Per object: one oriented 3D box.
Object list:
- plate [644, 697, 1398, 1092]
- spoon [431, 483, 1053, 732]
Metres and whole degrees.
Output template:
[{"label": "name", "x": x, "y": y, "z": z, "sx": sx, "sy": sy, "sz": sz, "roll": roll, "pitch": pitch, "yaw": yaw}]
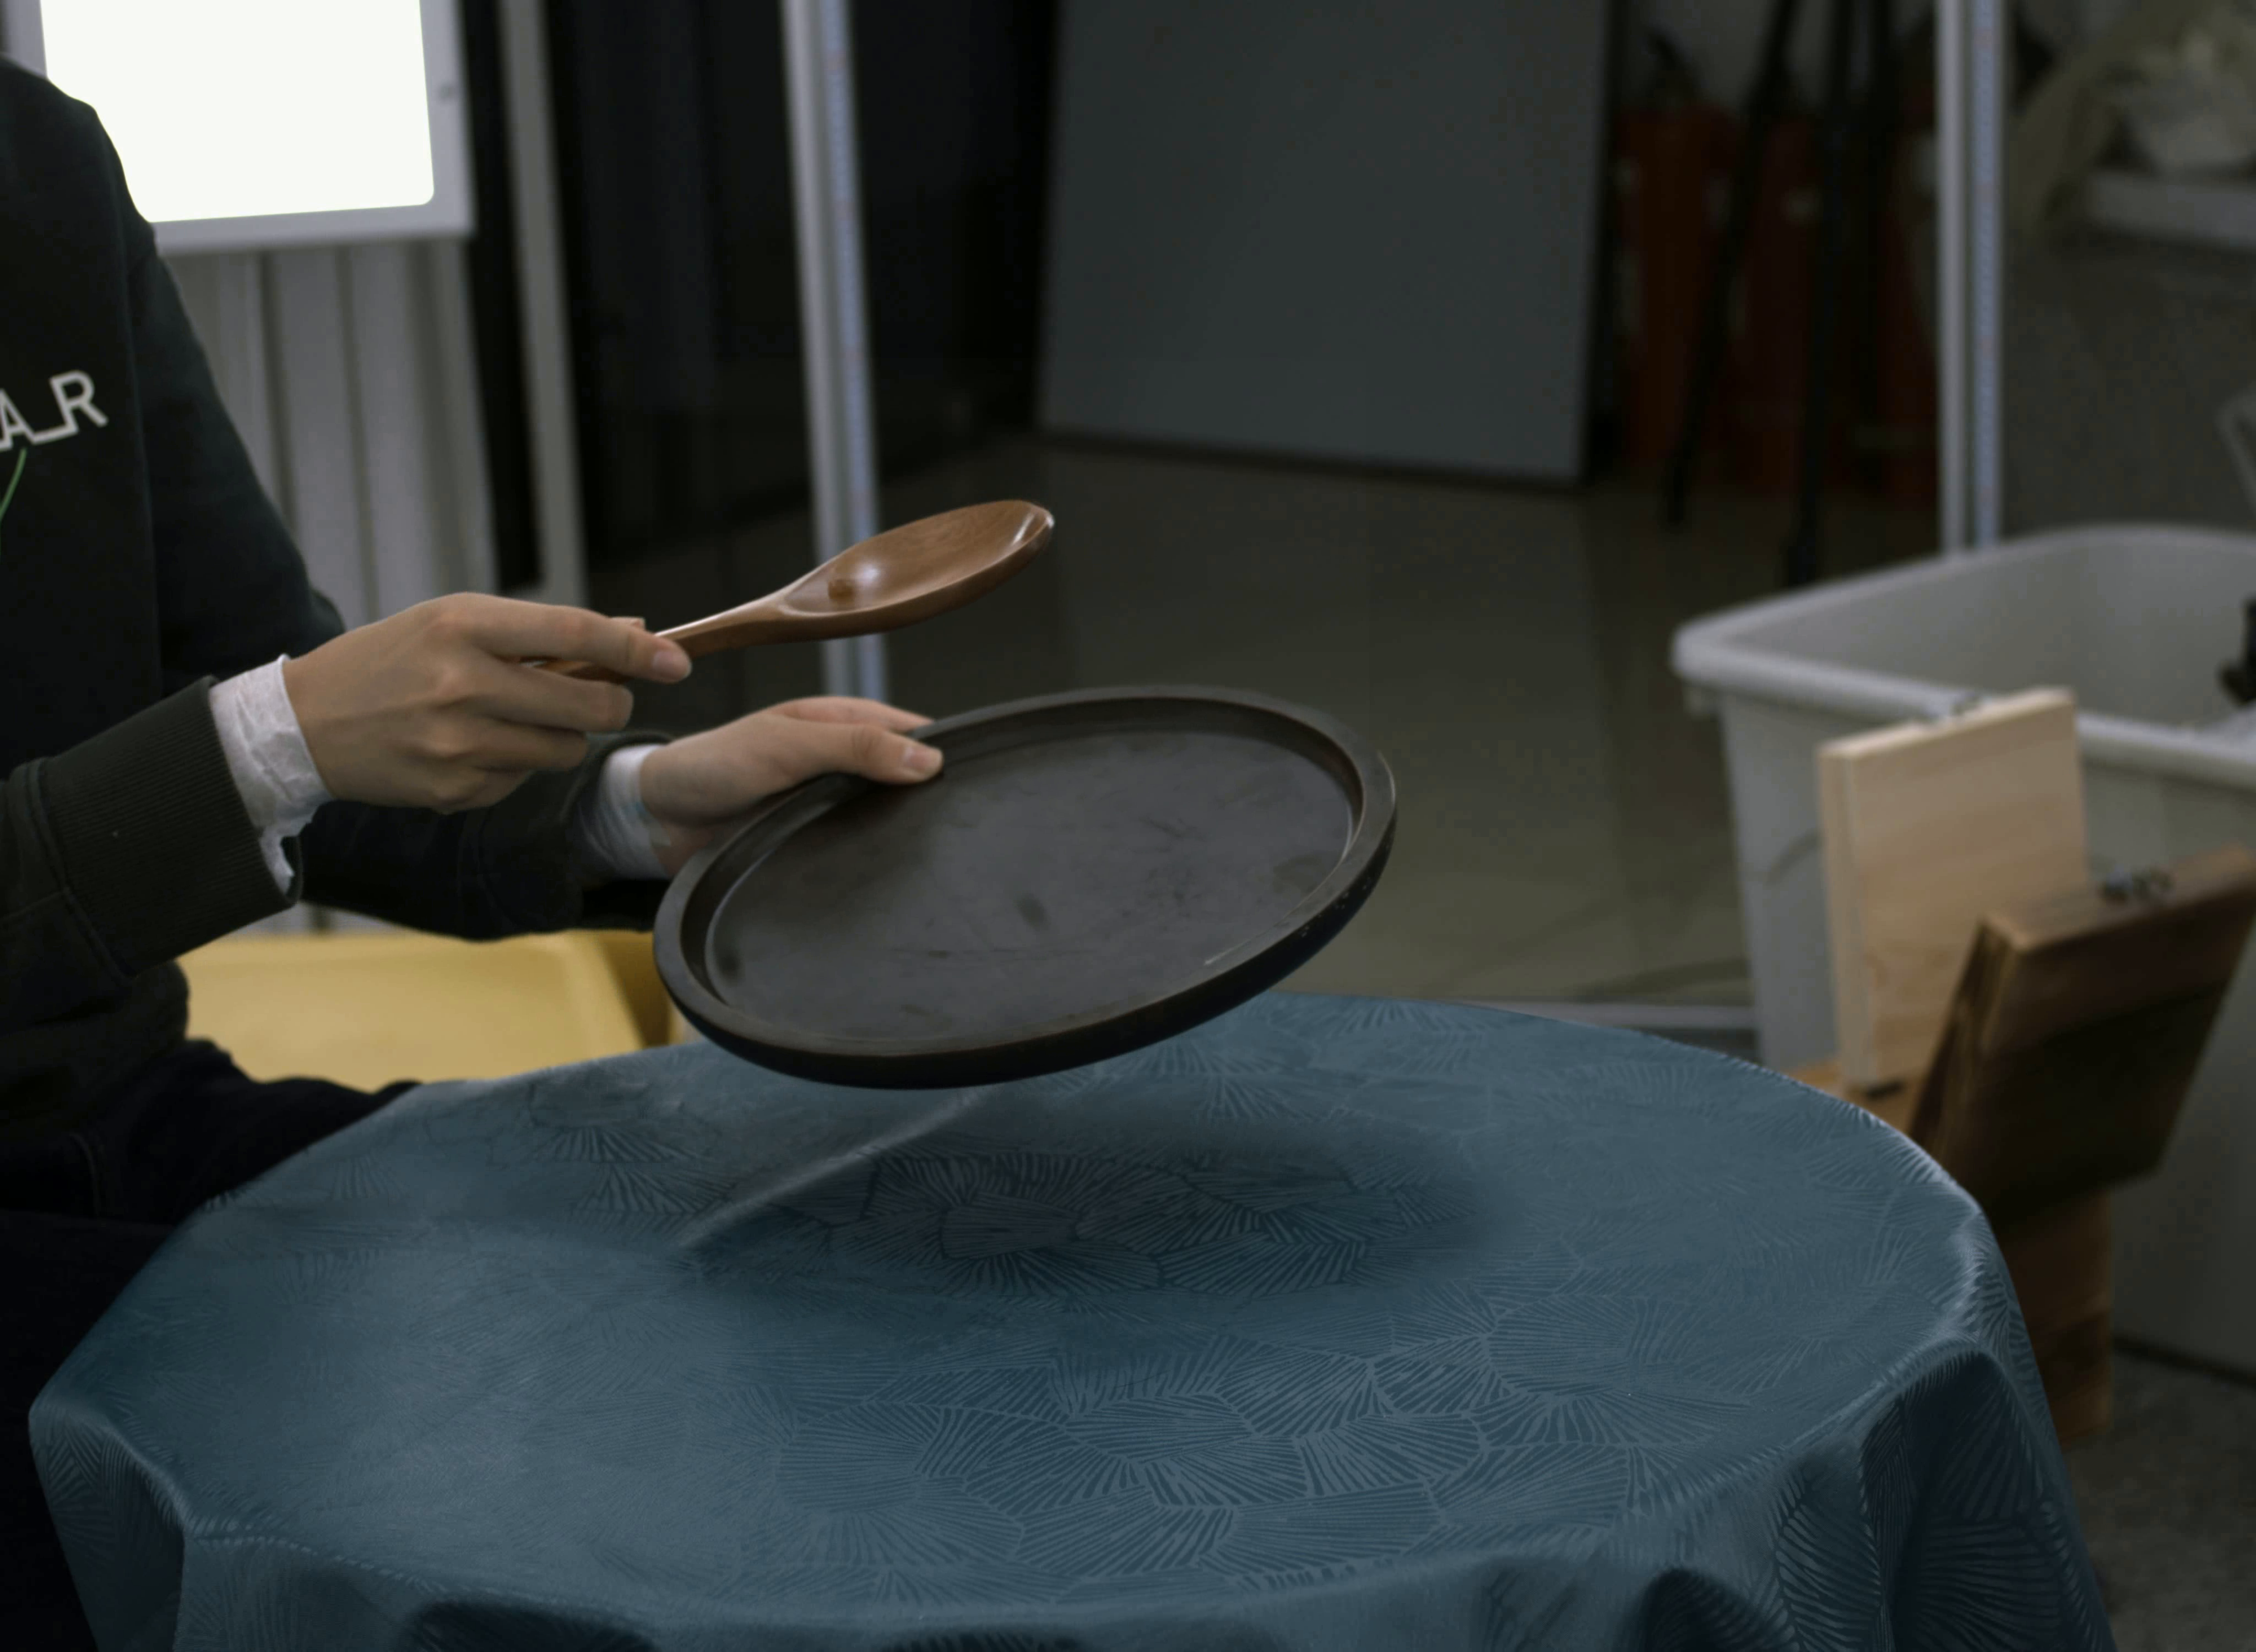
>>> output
[{"label": "plate", "x": -0.033, "y": 0.020, "z": 1.779, "sx": 0.252, "sy": 0.029, "sz": 0.256, "roll": -11, "pitch": 25, "yaw": 4}, {"label": "spoon", "x": -0.123, "y": -0.066, "z": 1.734, "sx": 0.215, "sy": 0.017, "sz": 0.075, "roll": -17, "pitch": 23, "yaw": 11}]
